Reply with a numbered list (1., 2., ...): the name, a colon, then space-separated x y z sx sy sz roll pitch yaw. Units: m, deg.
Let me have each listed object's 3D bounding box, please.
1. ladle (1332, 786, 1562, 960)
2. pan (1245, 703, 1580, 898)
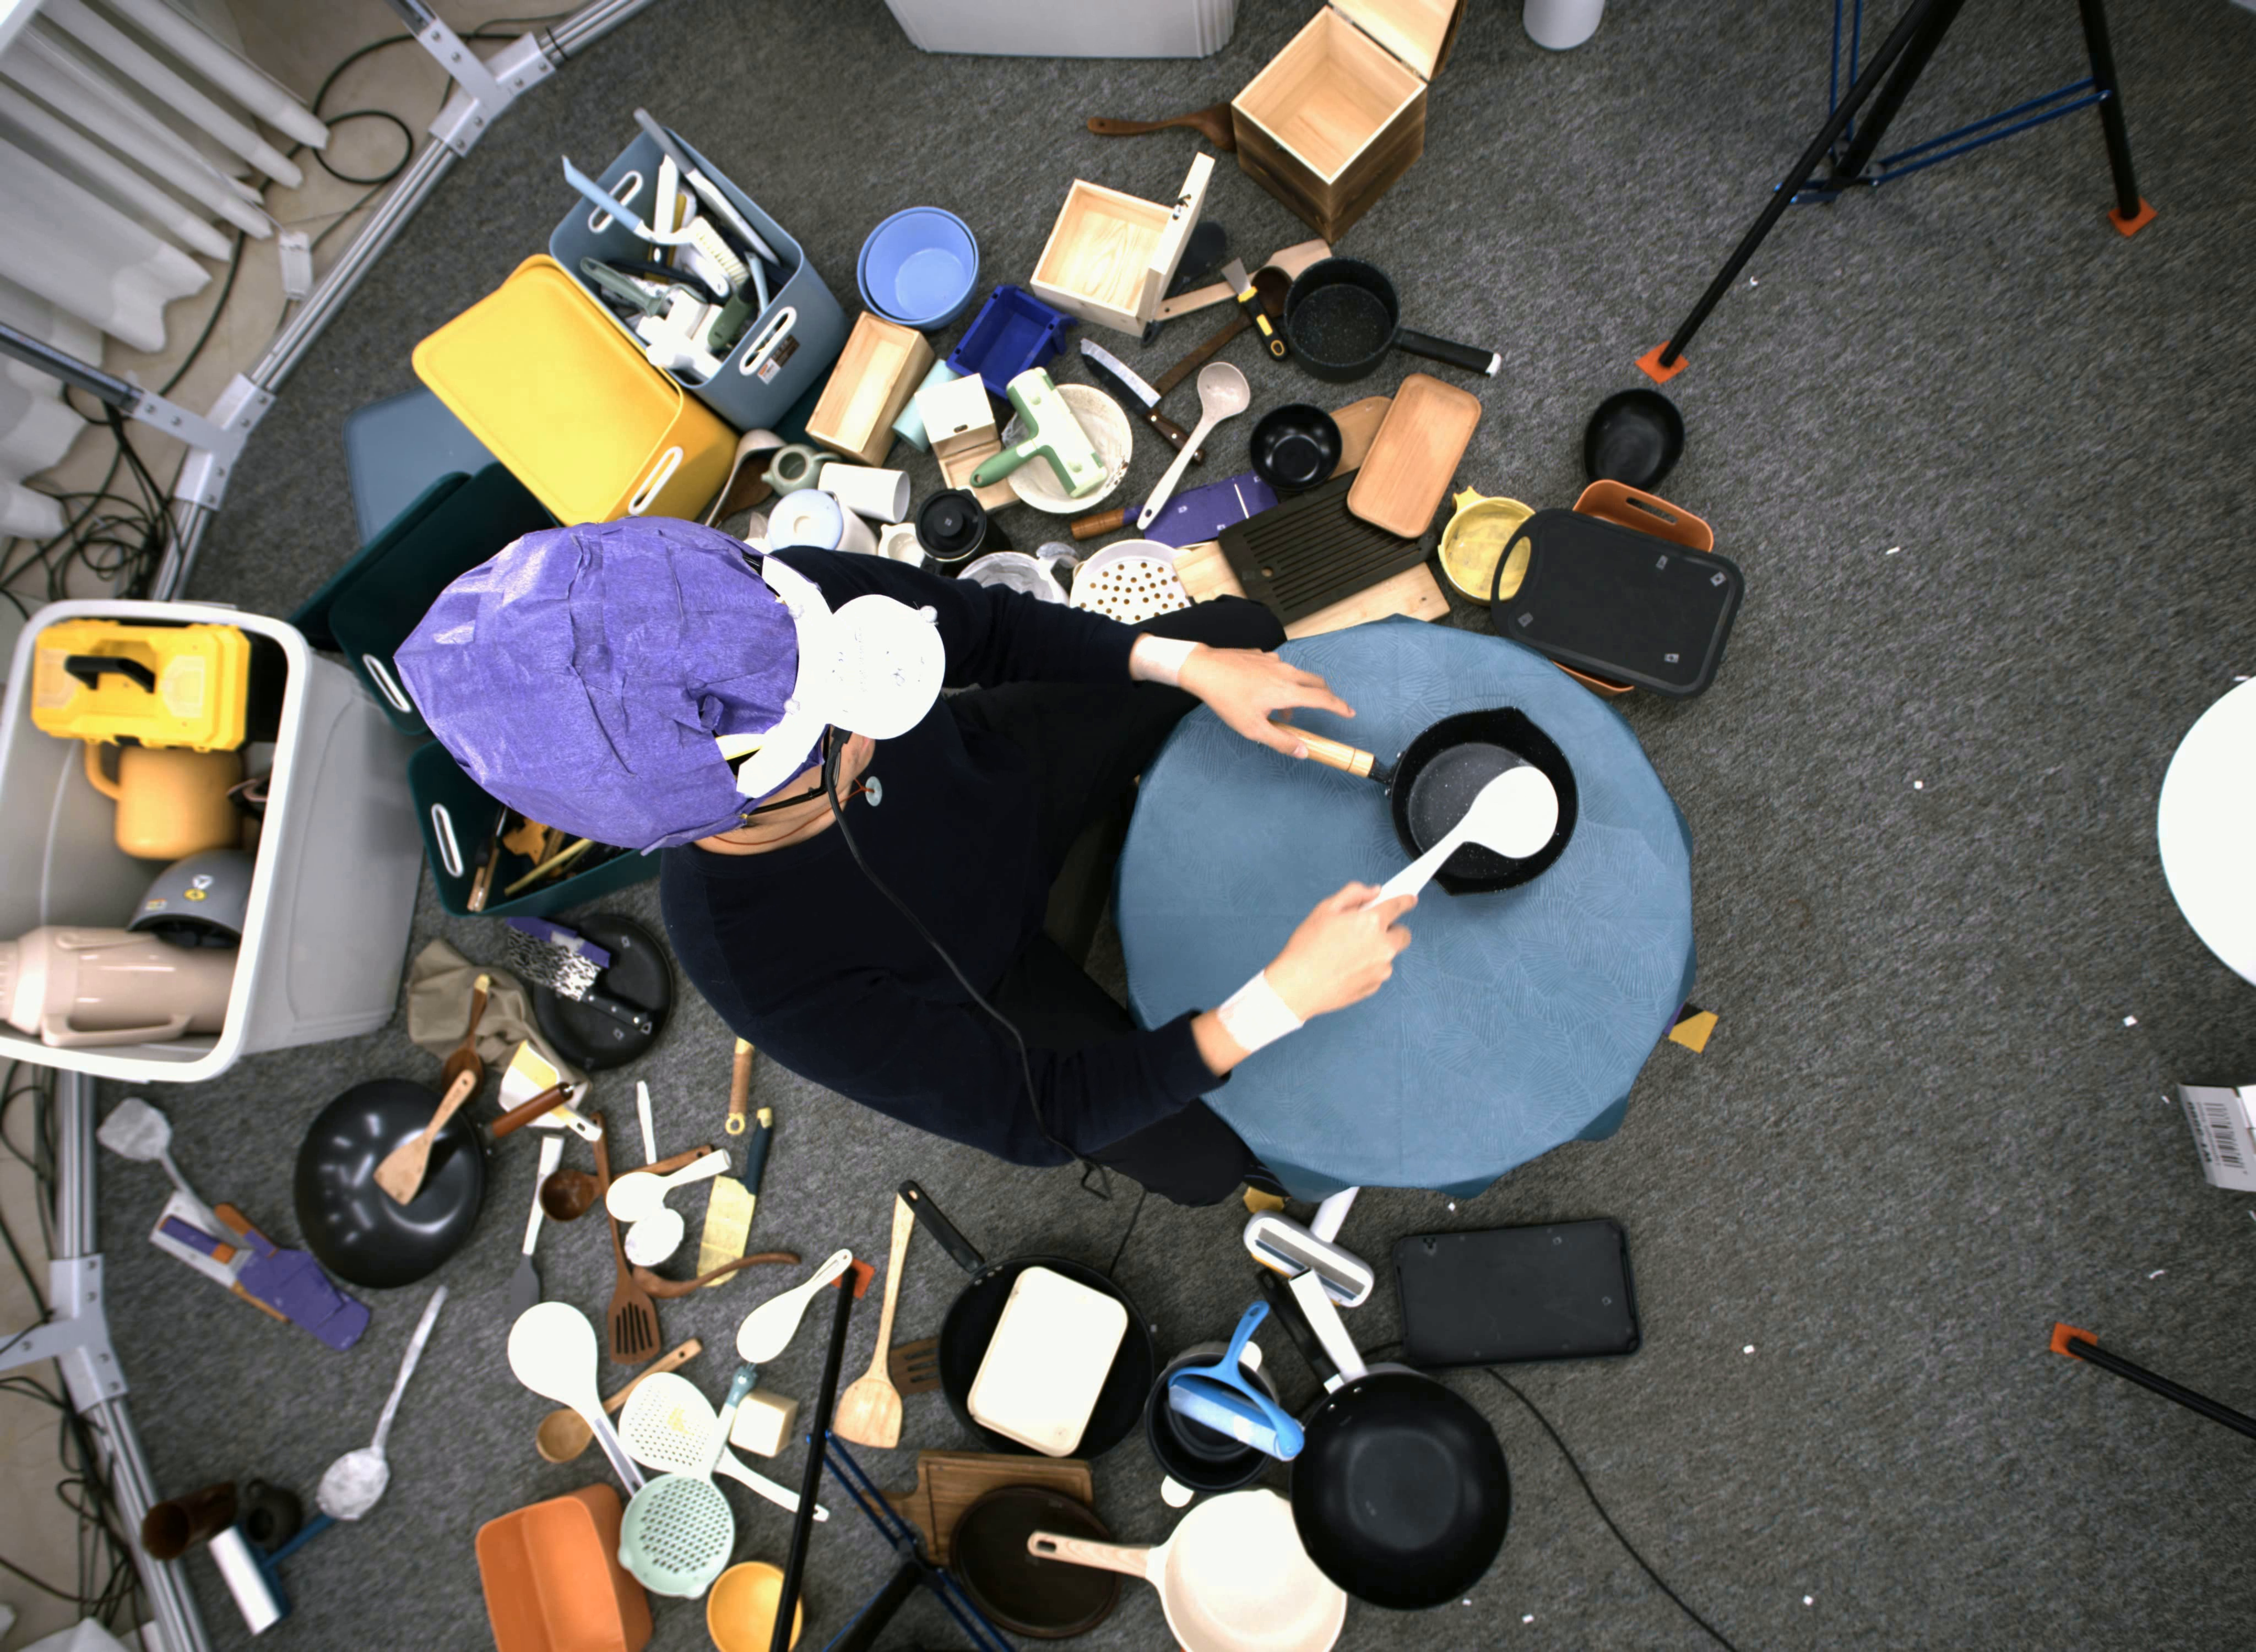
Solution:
1. ladle: 0.299 0.045 1.264 0.070 0.287 0.092 20 129 39
2. pan: 0.284 -0.046 1.409 0.343 0.108 0.207 17 90 10
